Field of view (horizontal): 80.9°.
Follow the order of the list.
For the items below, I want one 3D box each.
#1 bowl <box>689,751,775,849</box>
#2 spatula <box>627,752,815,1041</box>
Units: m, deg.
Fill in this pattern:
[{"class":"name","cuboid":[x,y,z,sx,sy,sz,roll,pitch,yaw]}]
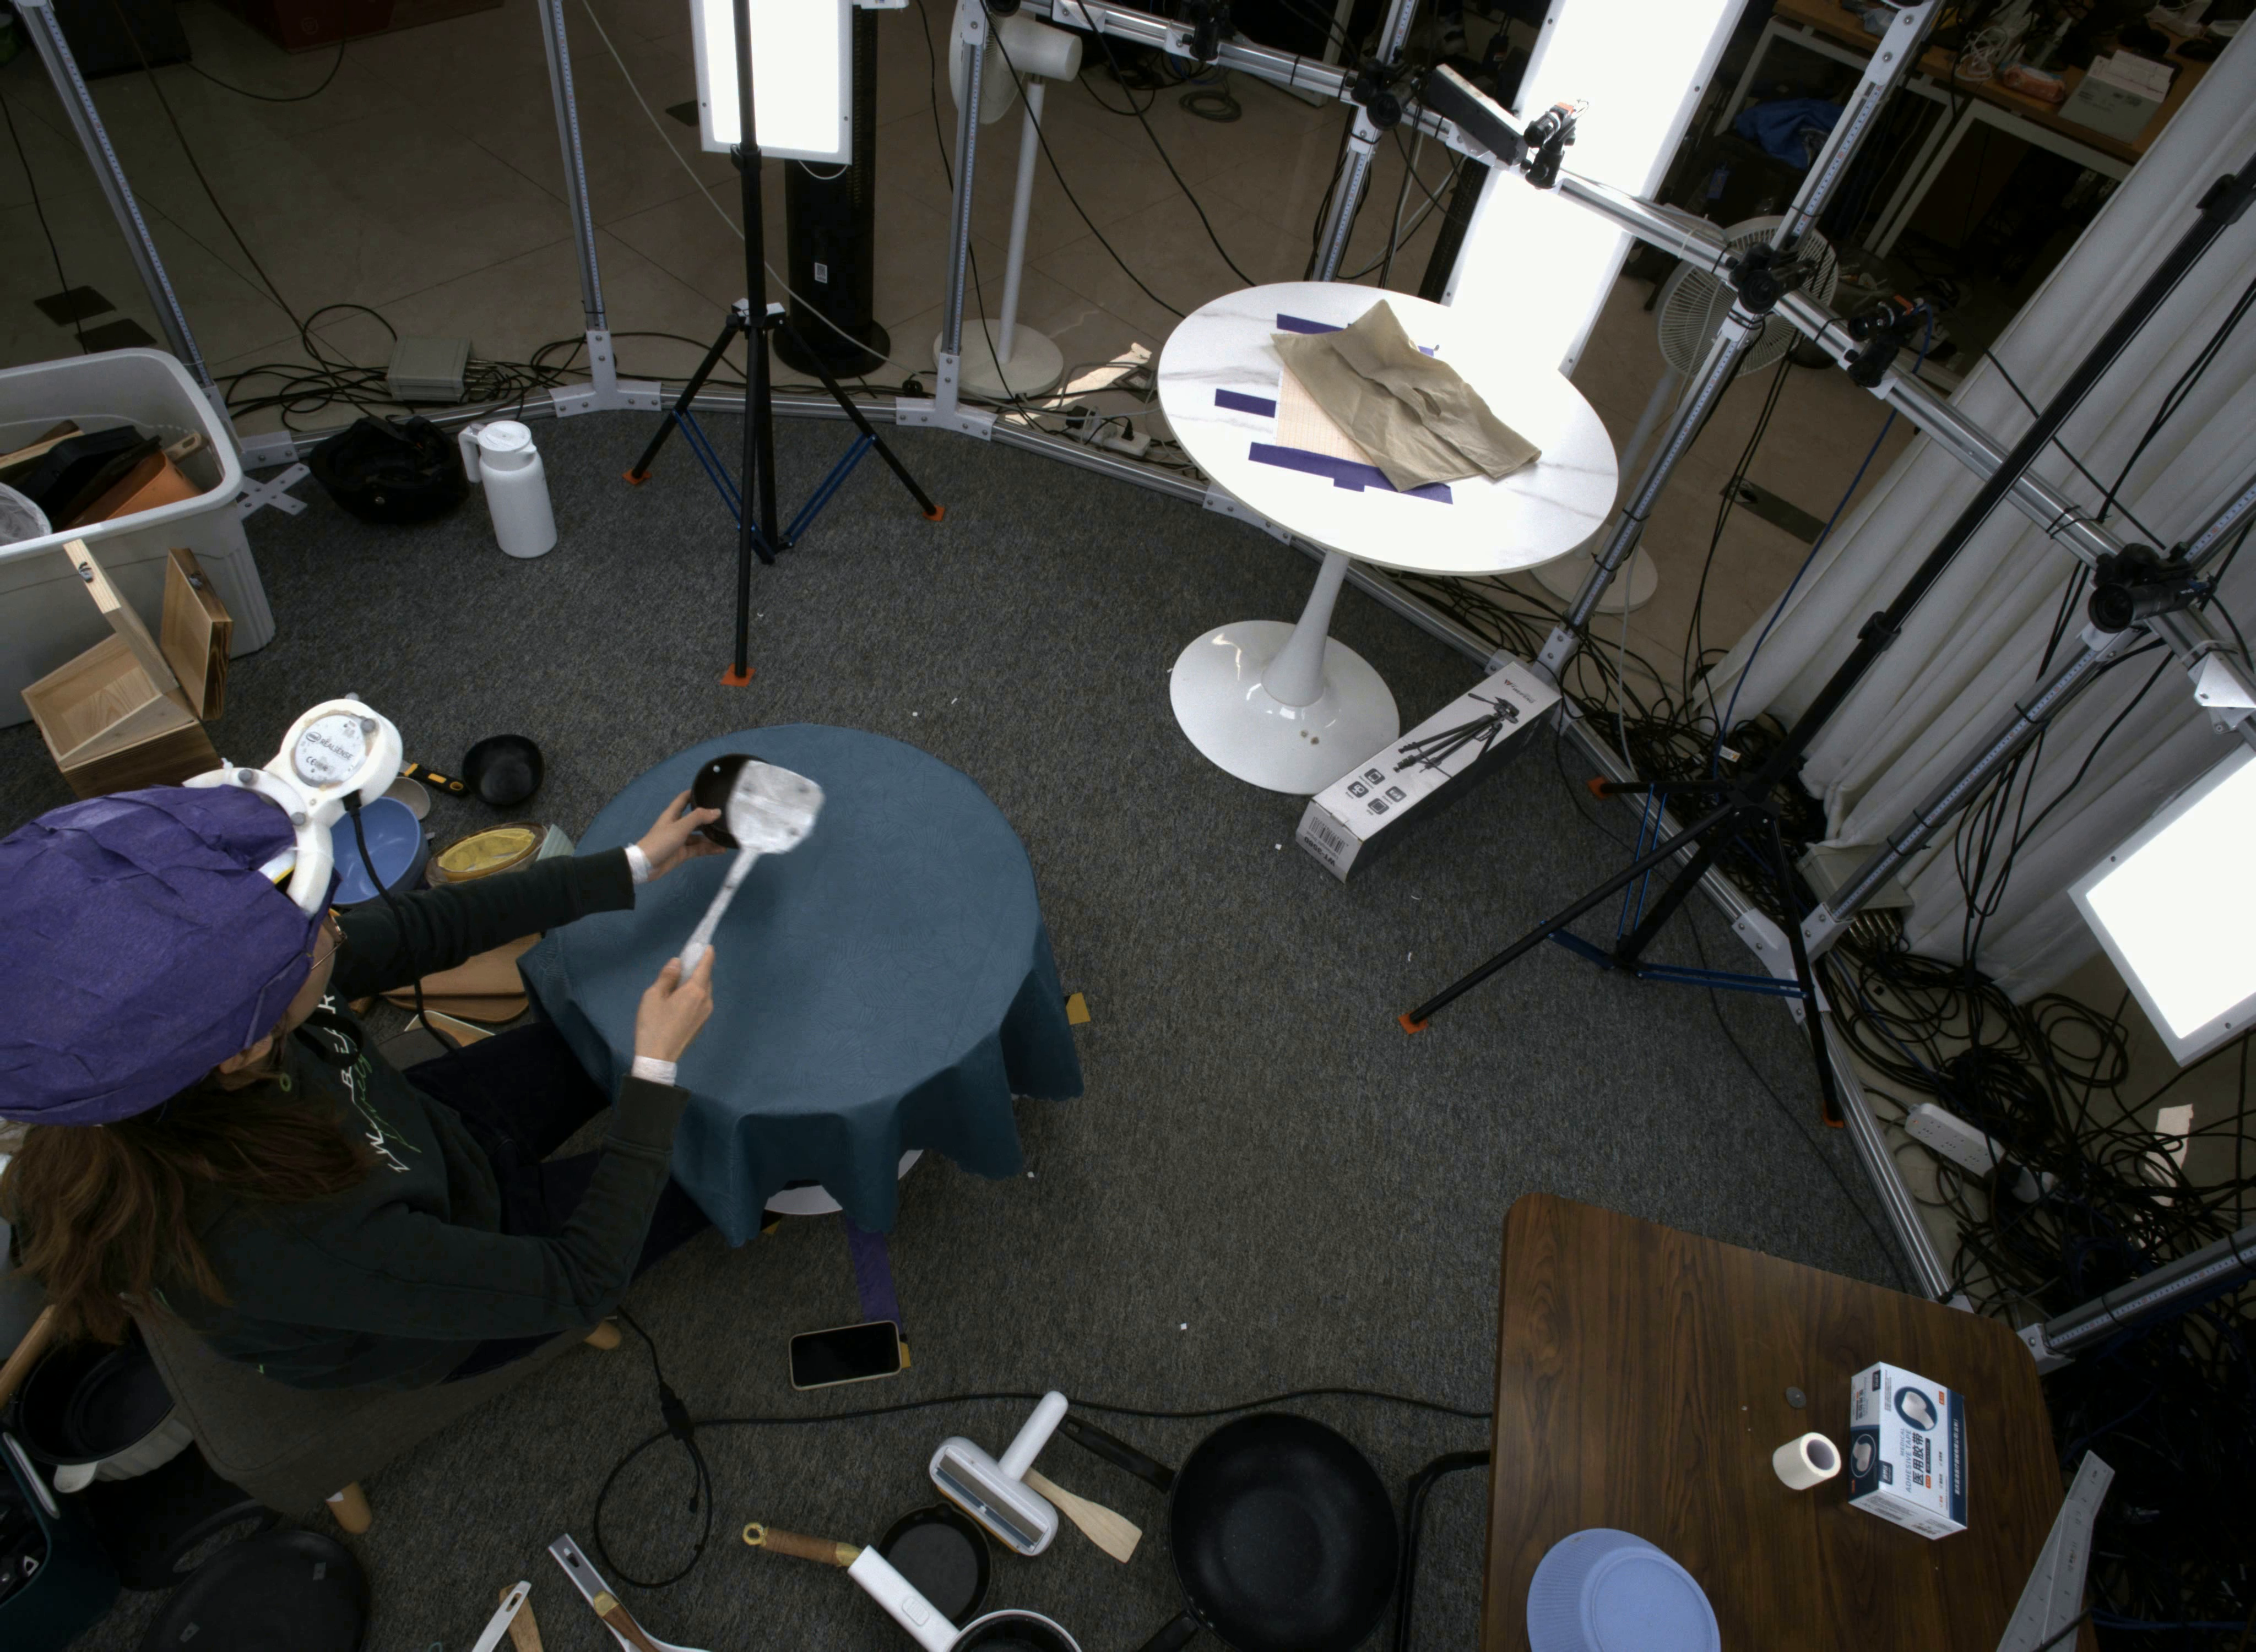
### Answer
[{"class":"bowl","cuboid":[-0.479,-0.026,1.588,0.118,0.070,0.116,9,61,-15]},{"class":"spatula","cuboid":[-0.447,0.071,1.386,0.099,0.045,0.361,25,51,-9]}]
